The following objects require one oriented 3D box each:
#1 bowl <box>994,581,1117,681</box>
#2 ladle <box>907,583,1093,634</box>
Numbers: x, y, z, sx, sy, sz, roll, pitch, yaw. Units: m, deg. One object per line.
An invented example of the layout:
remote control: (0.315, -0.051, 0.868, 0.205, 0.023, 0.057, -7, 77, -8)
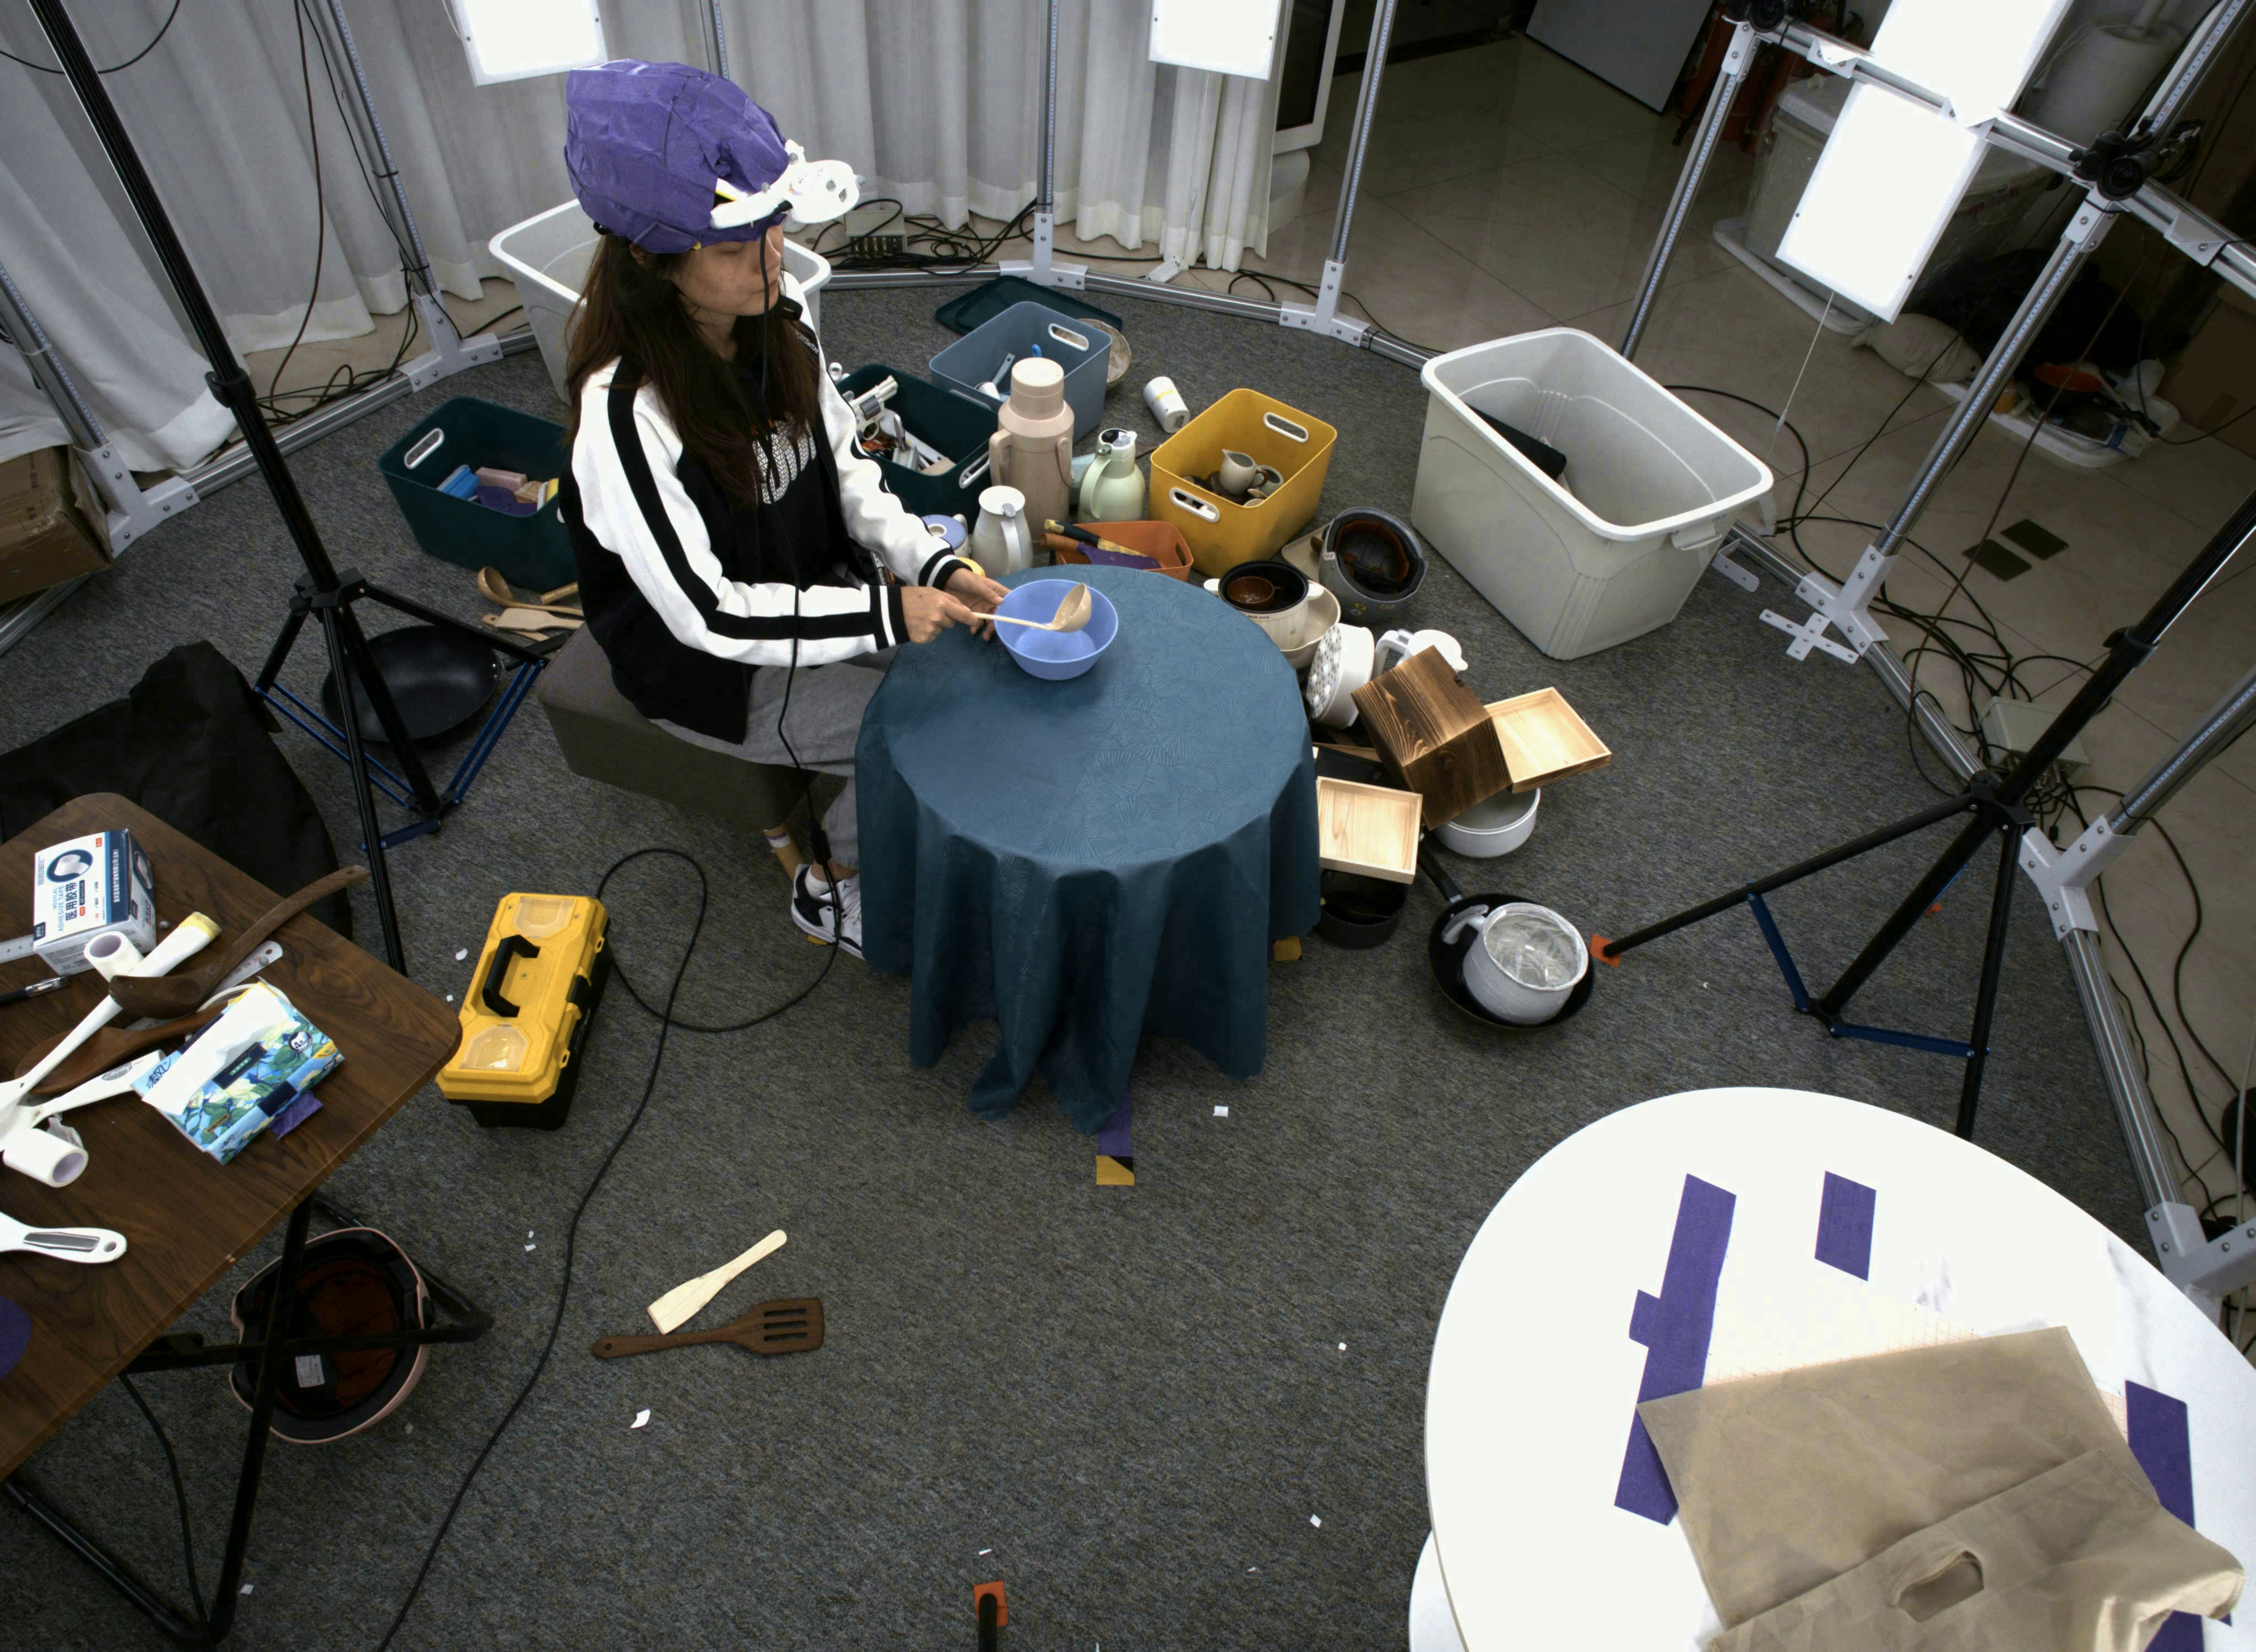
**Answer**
bowl: (-0.105, -0.272, 1.854, 0.176, 0.068, 0.180, 2, 49, -3)
ladle: (-0.173, -0.310, 1.776, 0.253, 0.072, 0.073, 2, 21, -19)
